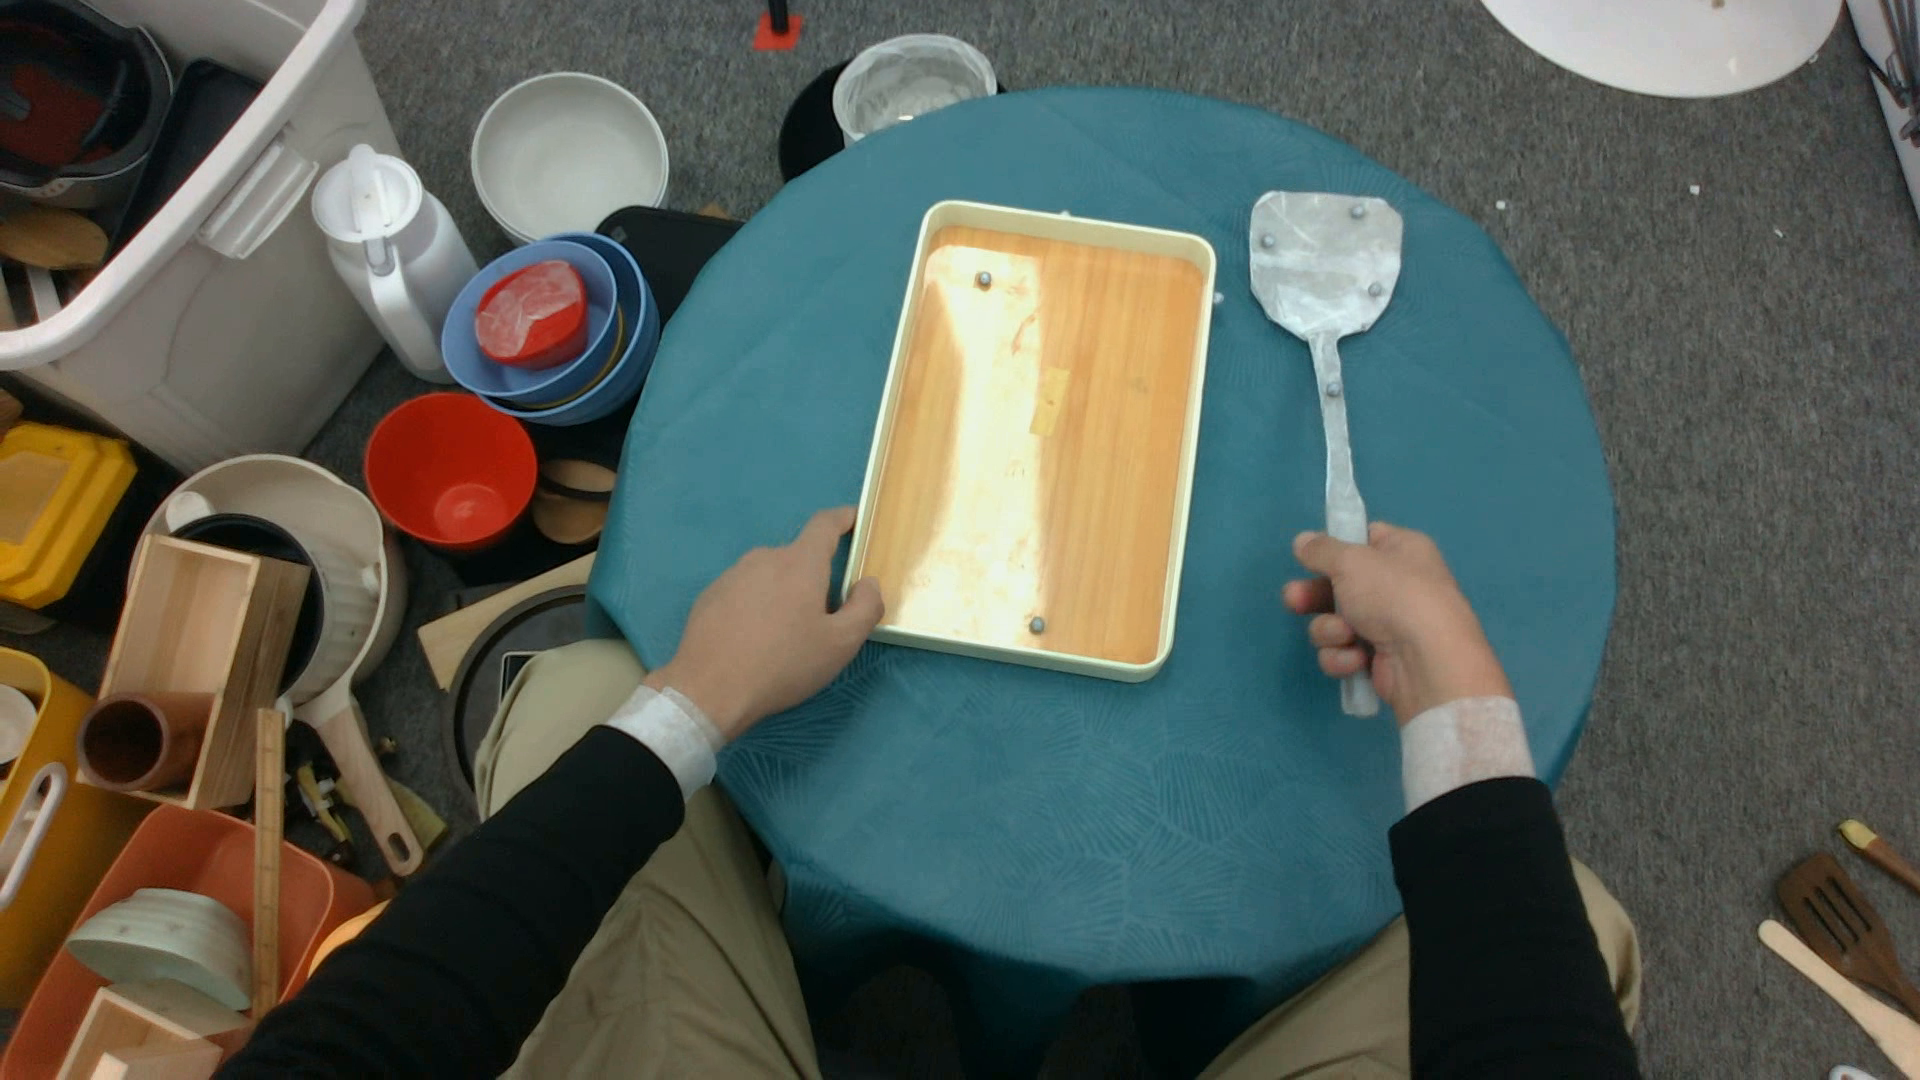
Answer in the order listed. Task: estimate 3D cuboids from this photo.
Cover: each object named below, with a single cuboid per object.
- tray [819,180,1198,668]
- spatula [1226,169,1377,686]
[{"bbox_3d":[0.035,-0.079,0.834,0.191,0.027,0.301,10,67,2],"label":"tray"},{"bbox_3d":[0.209,-0.082,0.810,0.099,0.044,0.366,5,54,0],"label":"spatula"}]
